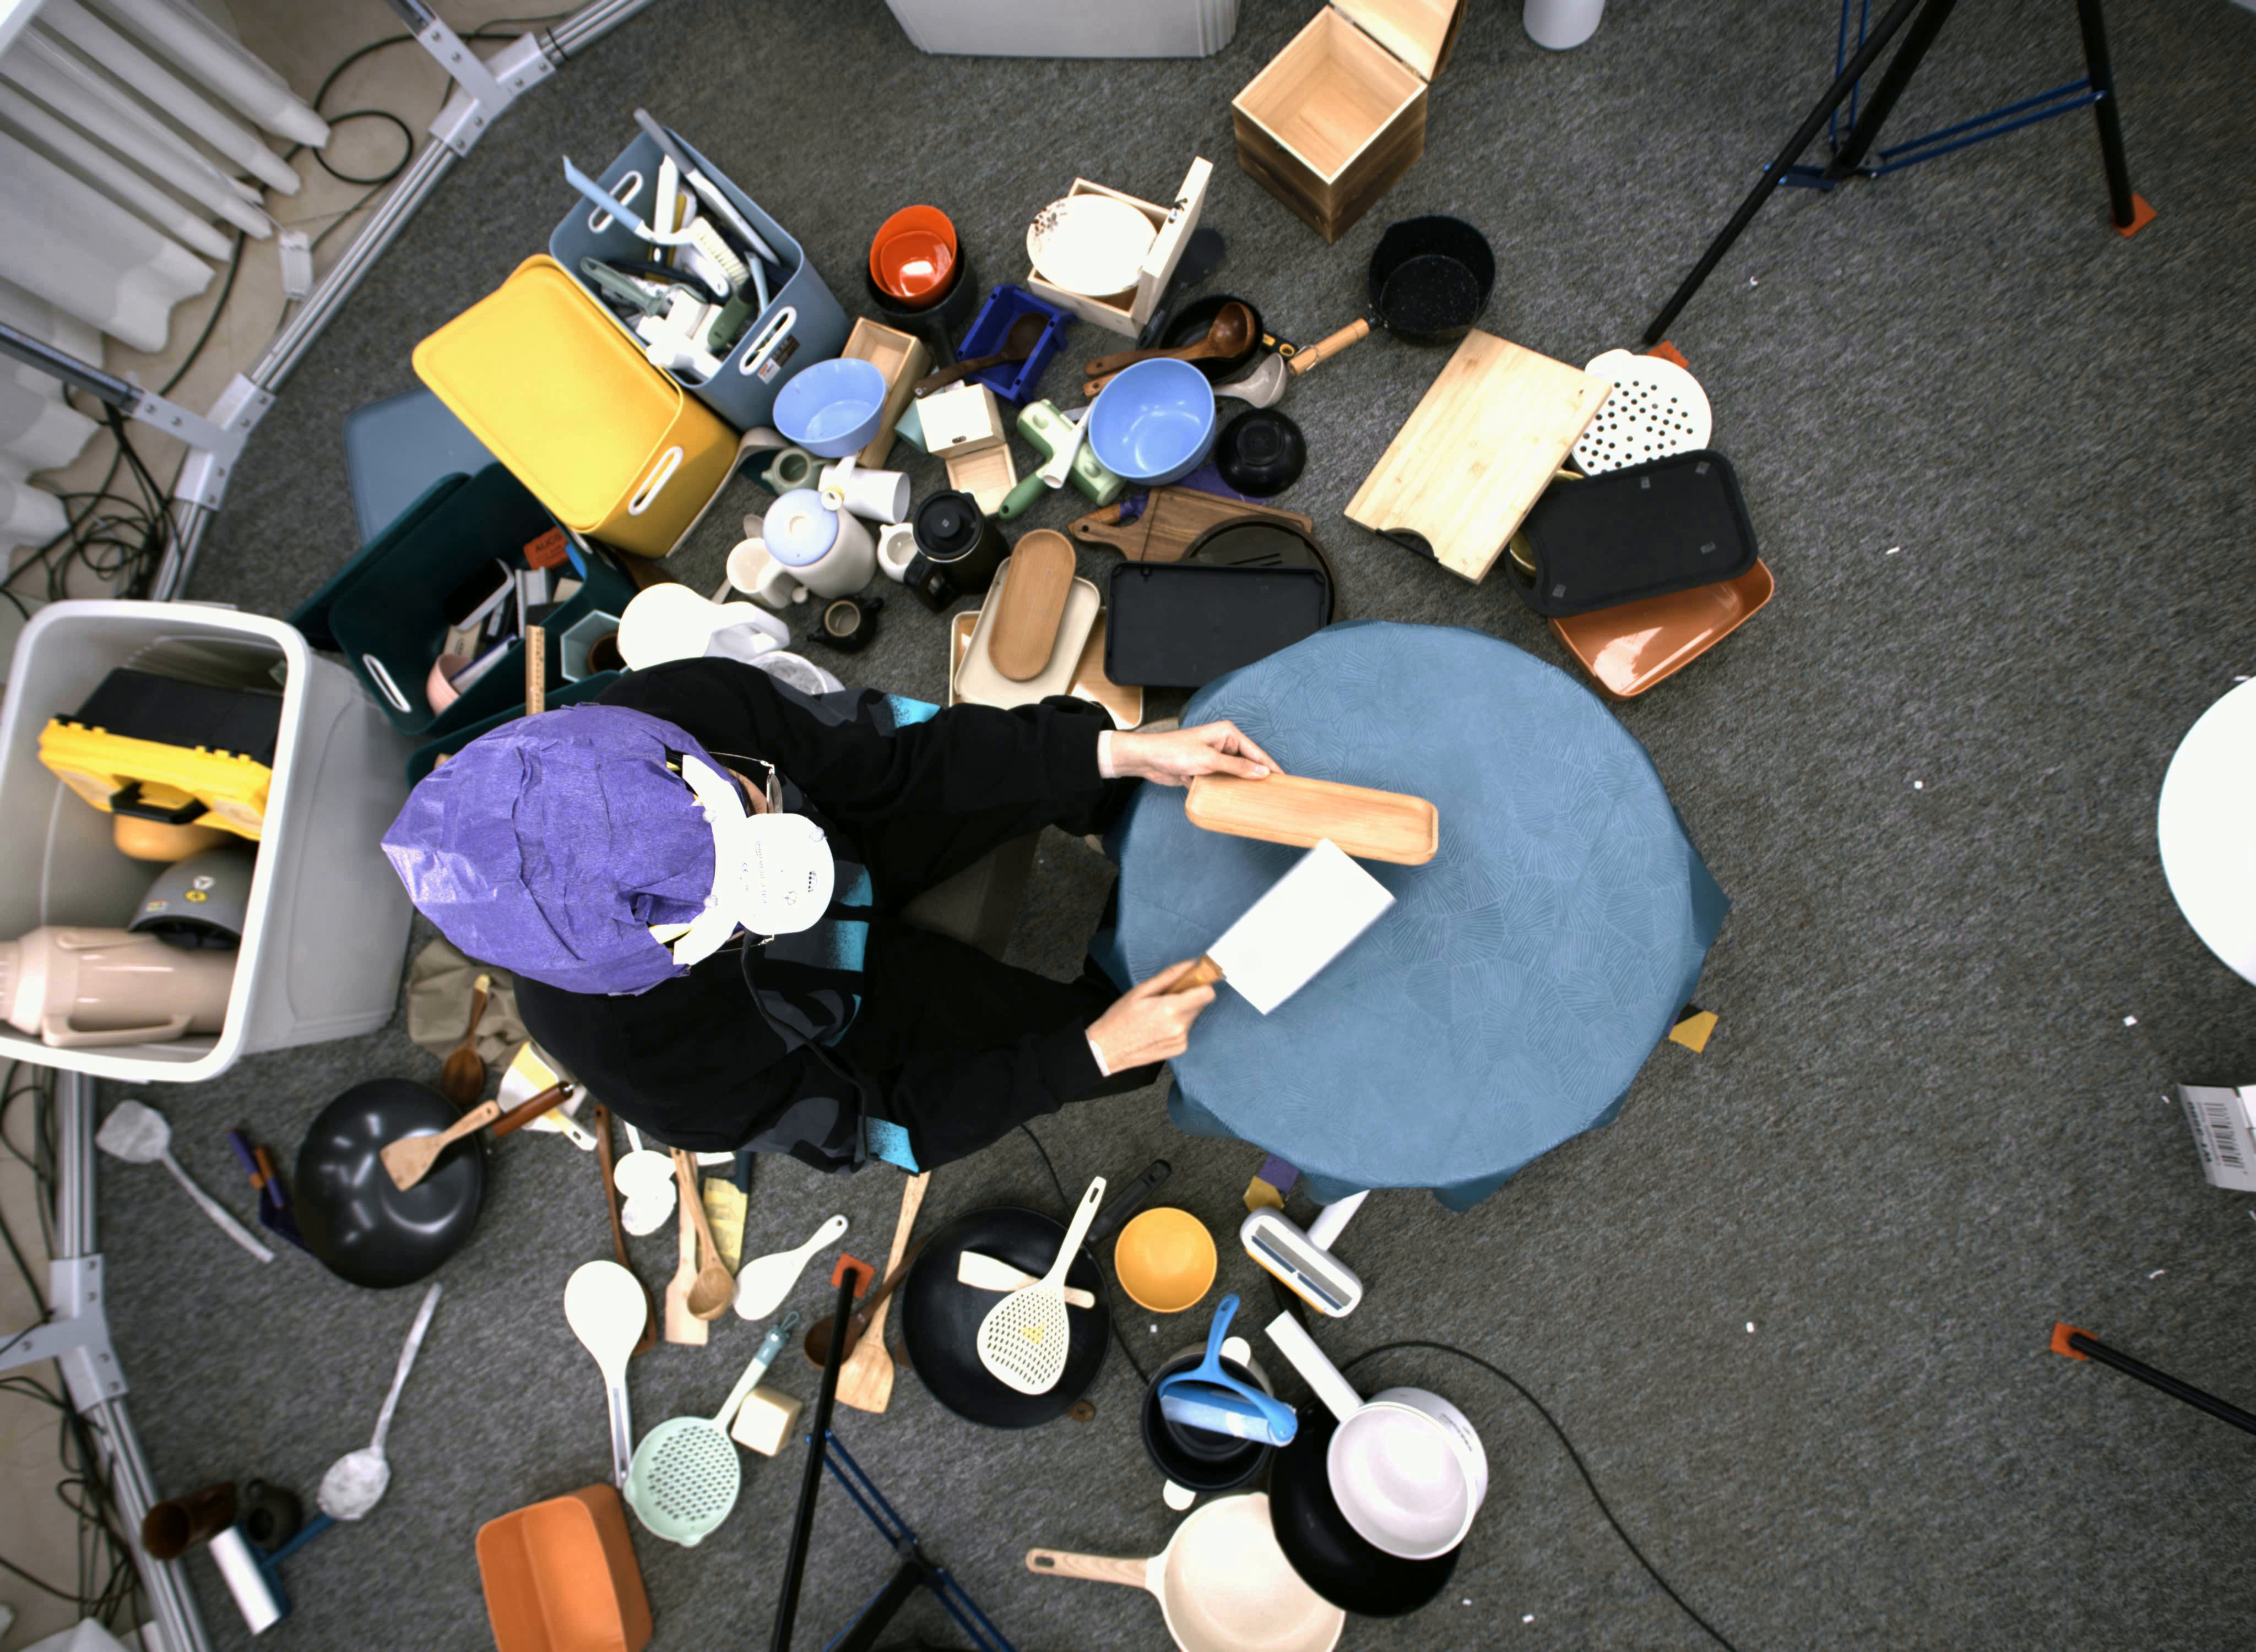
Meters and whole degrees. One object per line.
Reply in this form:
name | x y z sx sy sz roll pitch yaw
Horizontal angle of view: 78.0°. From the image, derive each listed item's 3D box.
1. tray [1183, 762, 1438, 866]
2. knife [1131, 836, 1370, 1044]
tray | 0.184 -0.014 1.385 0.251 0.127 0.023 9 119 10
knife | 0.124 0.134 1.401 0.093 0.020 0.312 38 118 -8
